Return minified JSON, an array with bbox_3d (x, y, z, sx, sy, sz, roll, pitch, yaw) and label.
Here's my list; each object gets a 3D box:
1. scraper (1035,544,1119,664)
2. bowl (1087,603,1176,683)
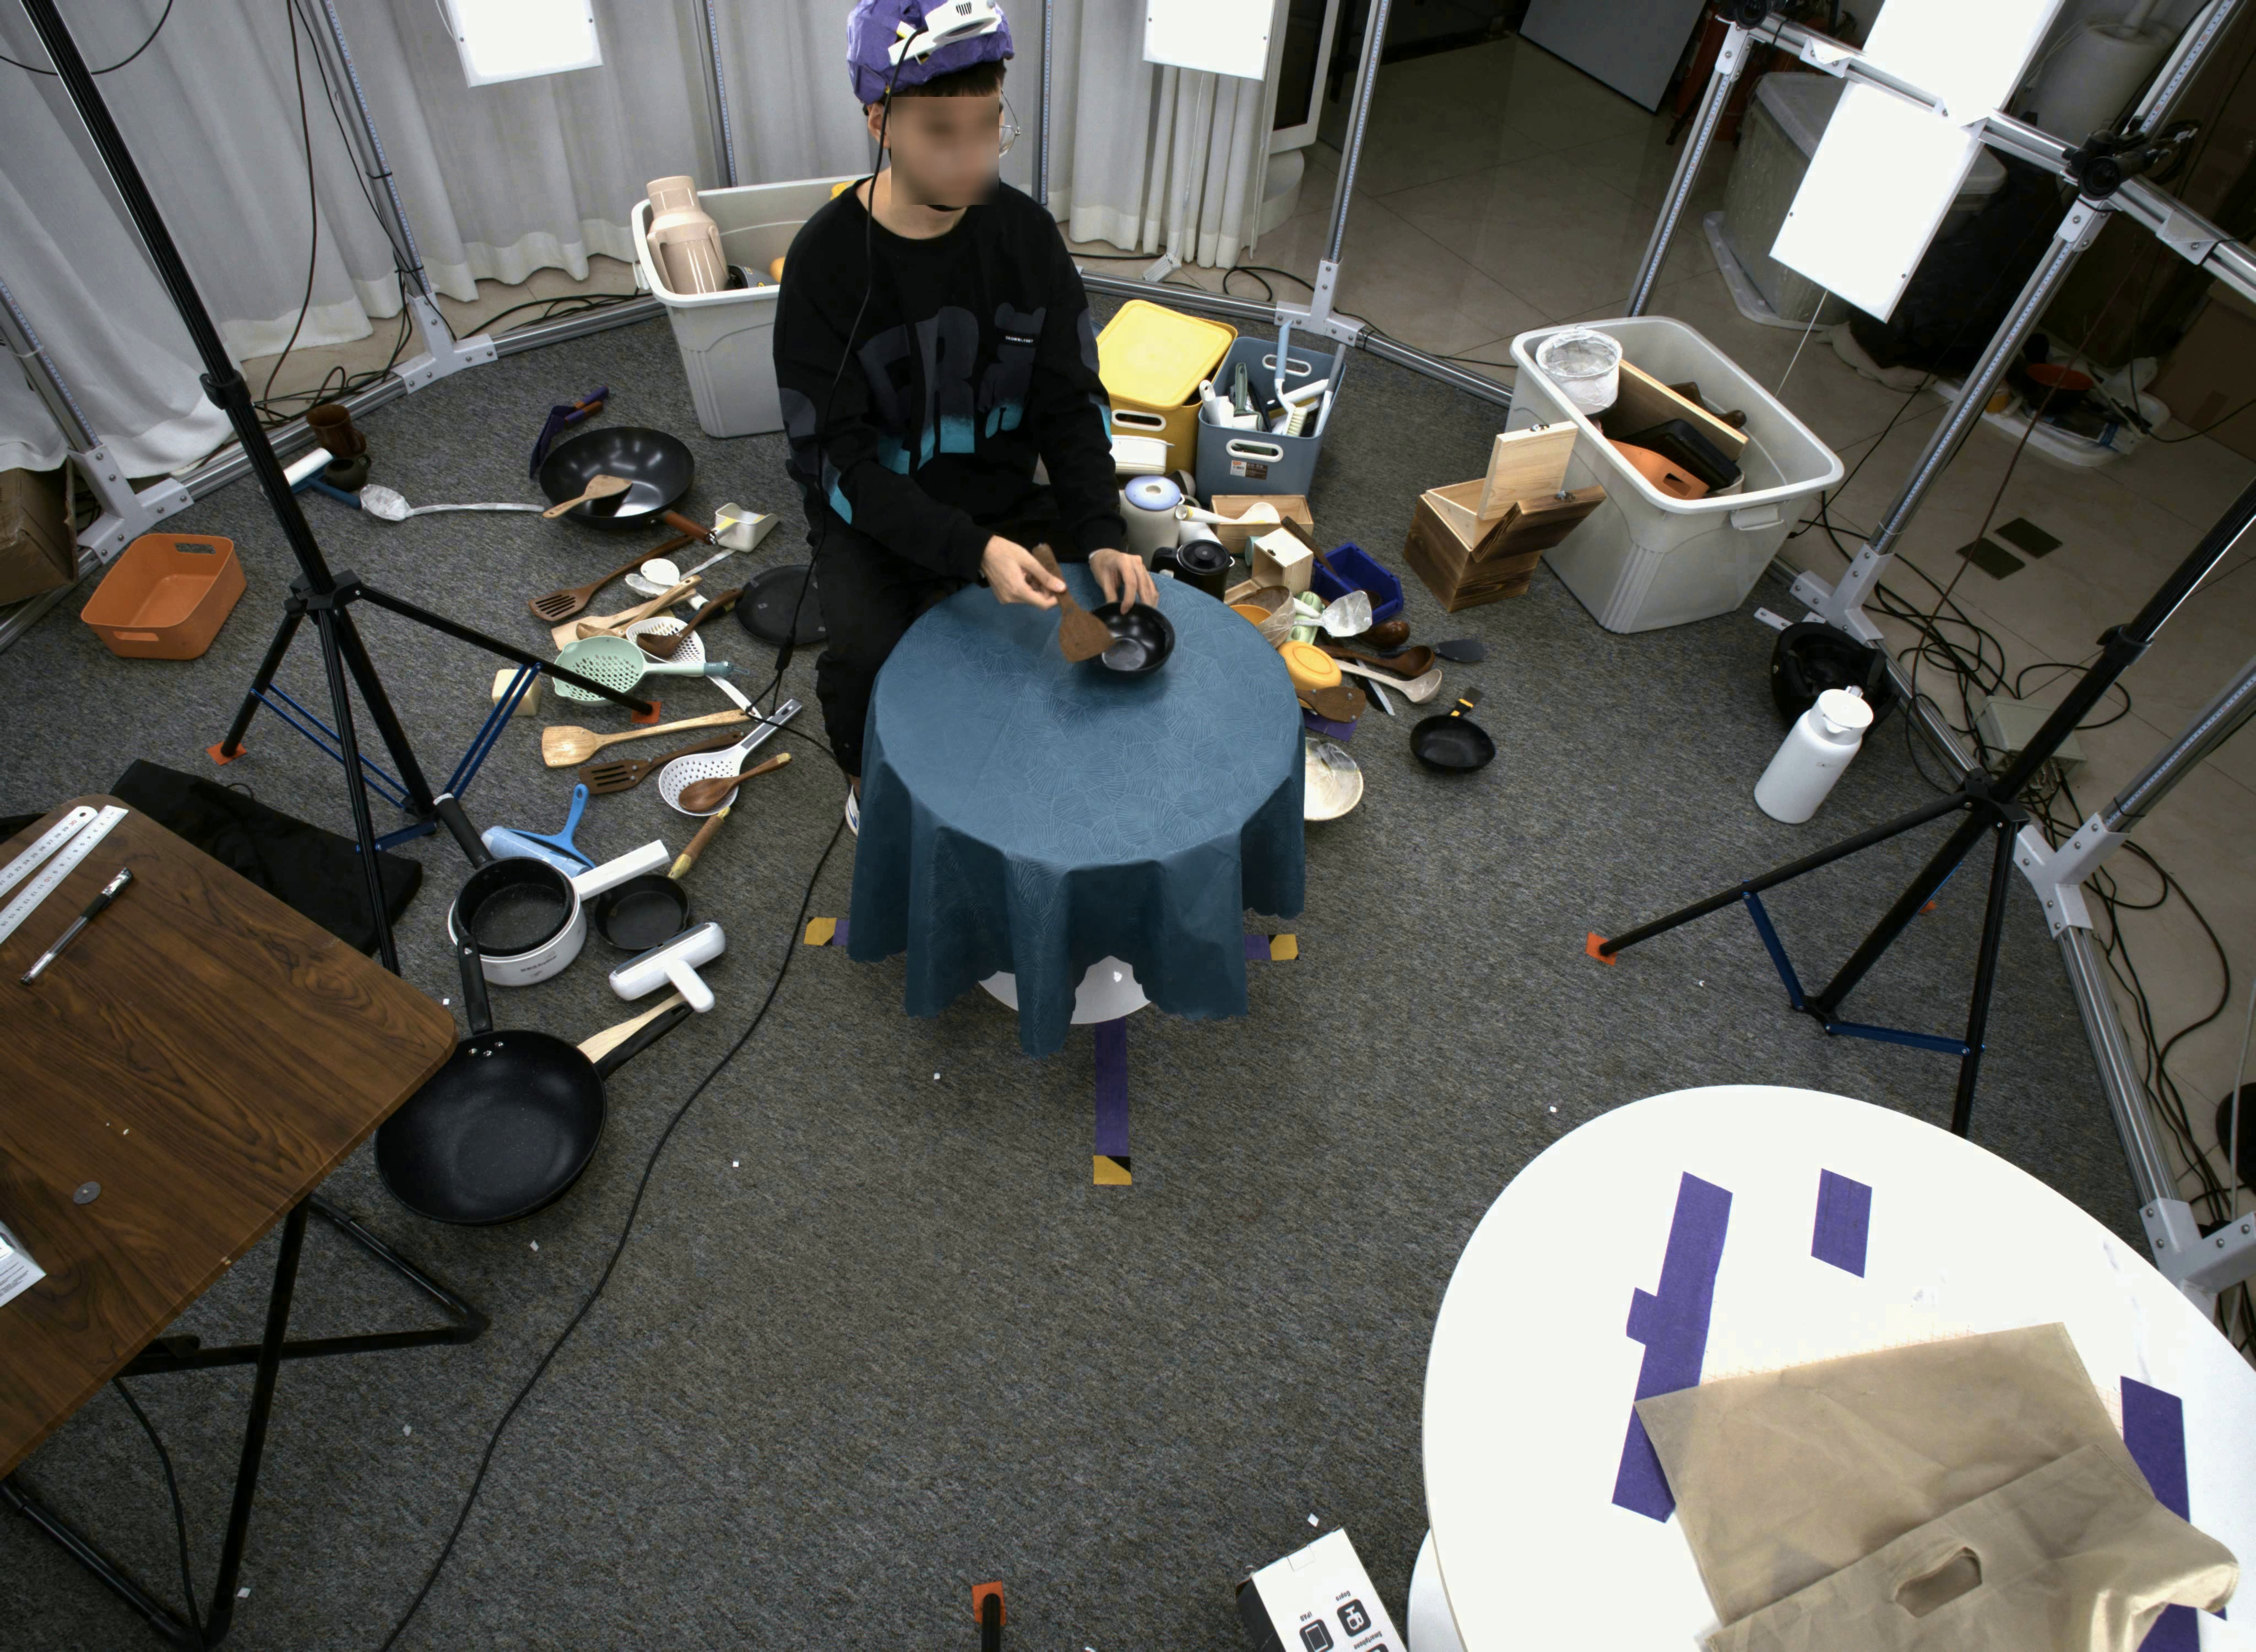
[{"bbox_3d":[-0.084,-0.321,1.841,0.076,0.010,0.215,-22,65,-7],"label":"scraper"},{"bbox_3d":[0.000,-0.258,1.874,0.140,0.048,0.143,0,55,-1],"label":"bowl"}]
